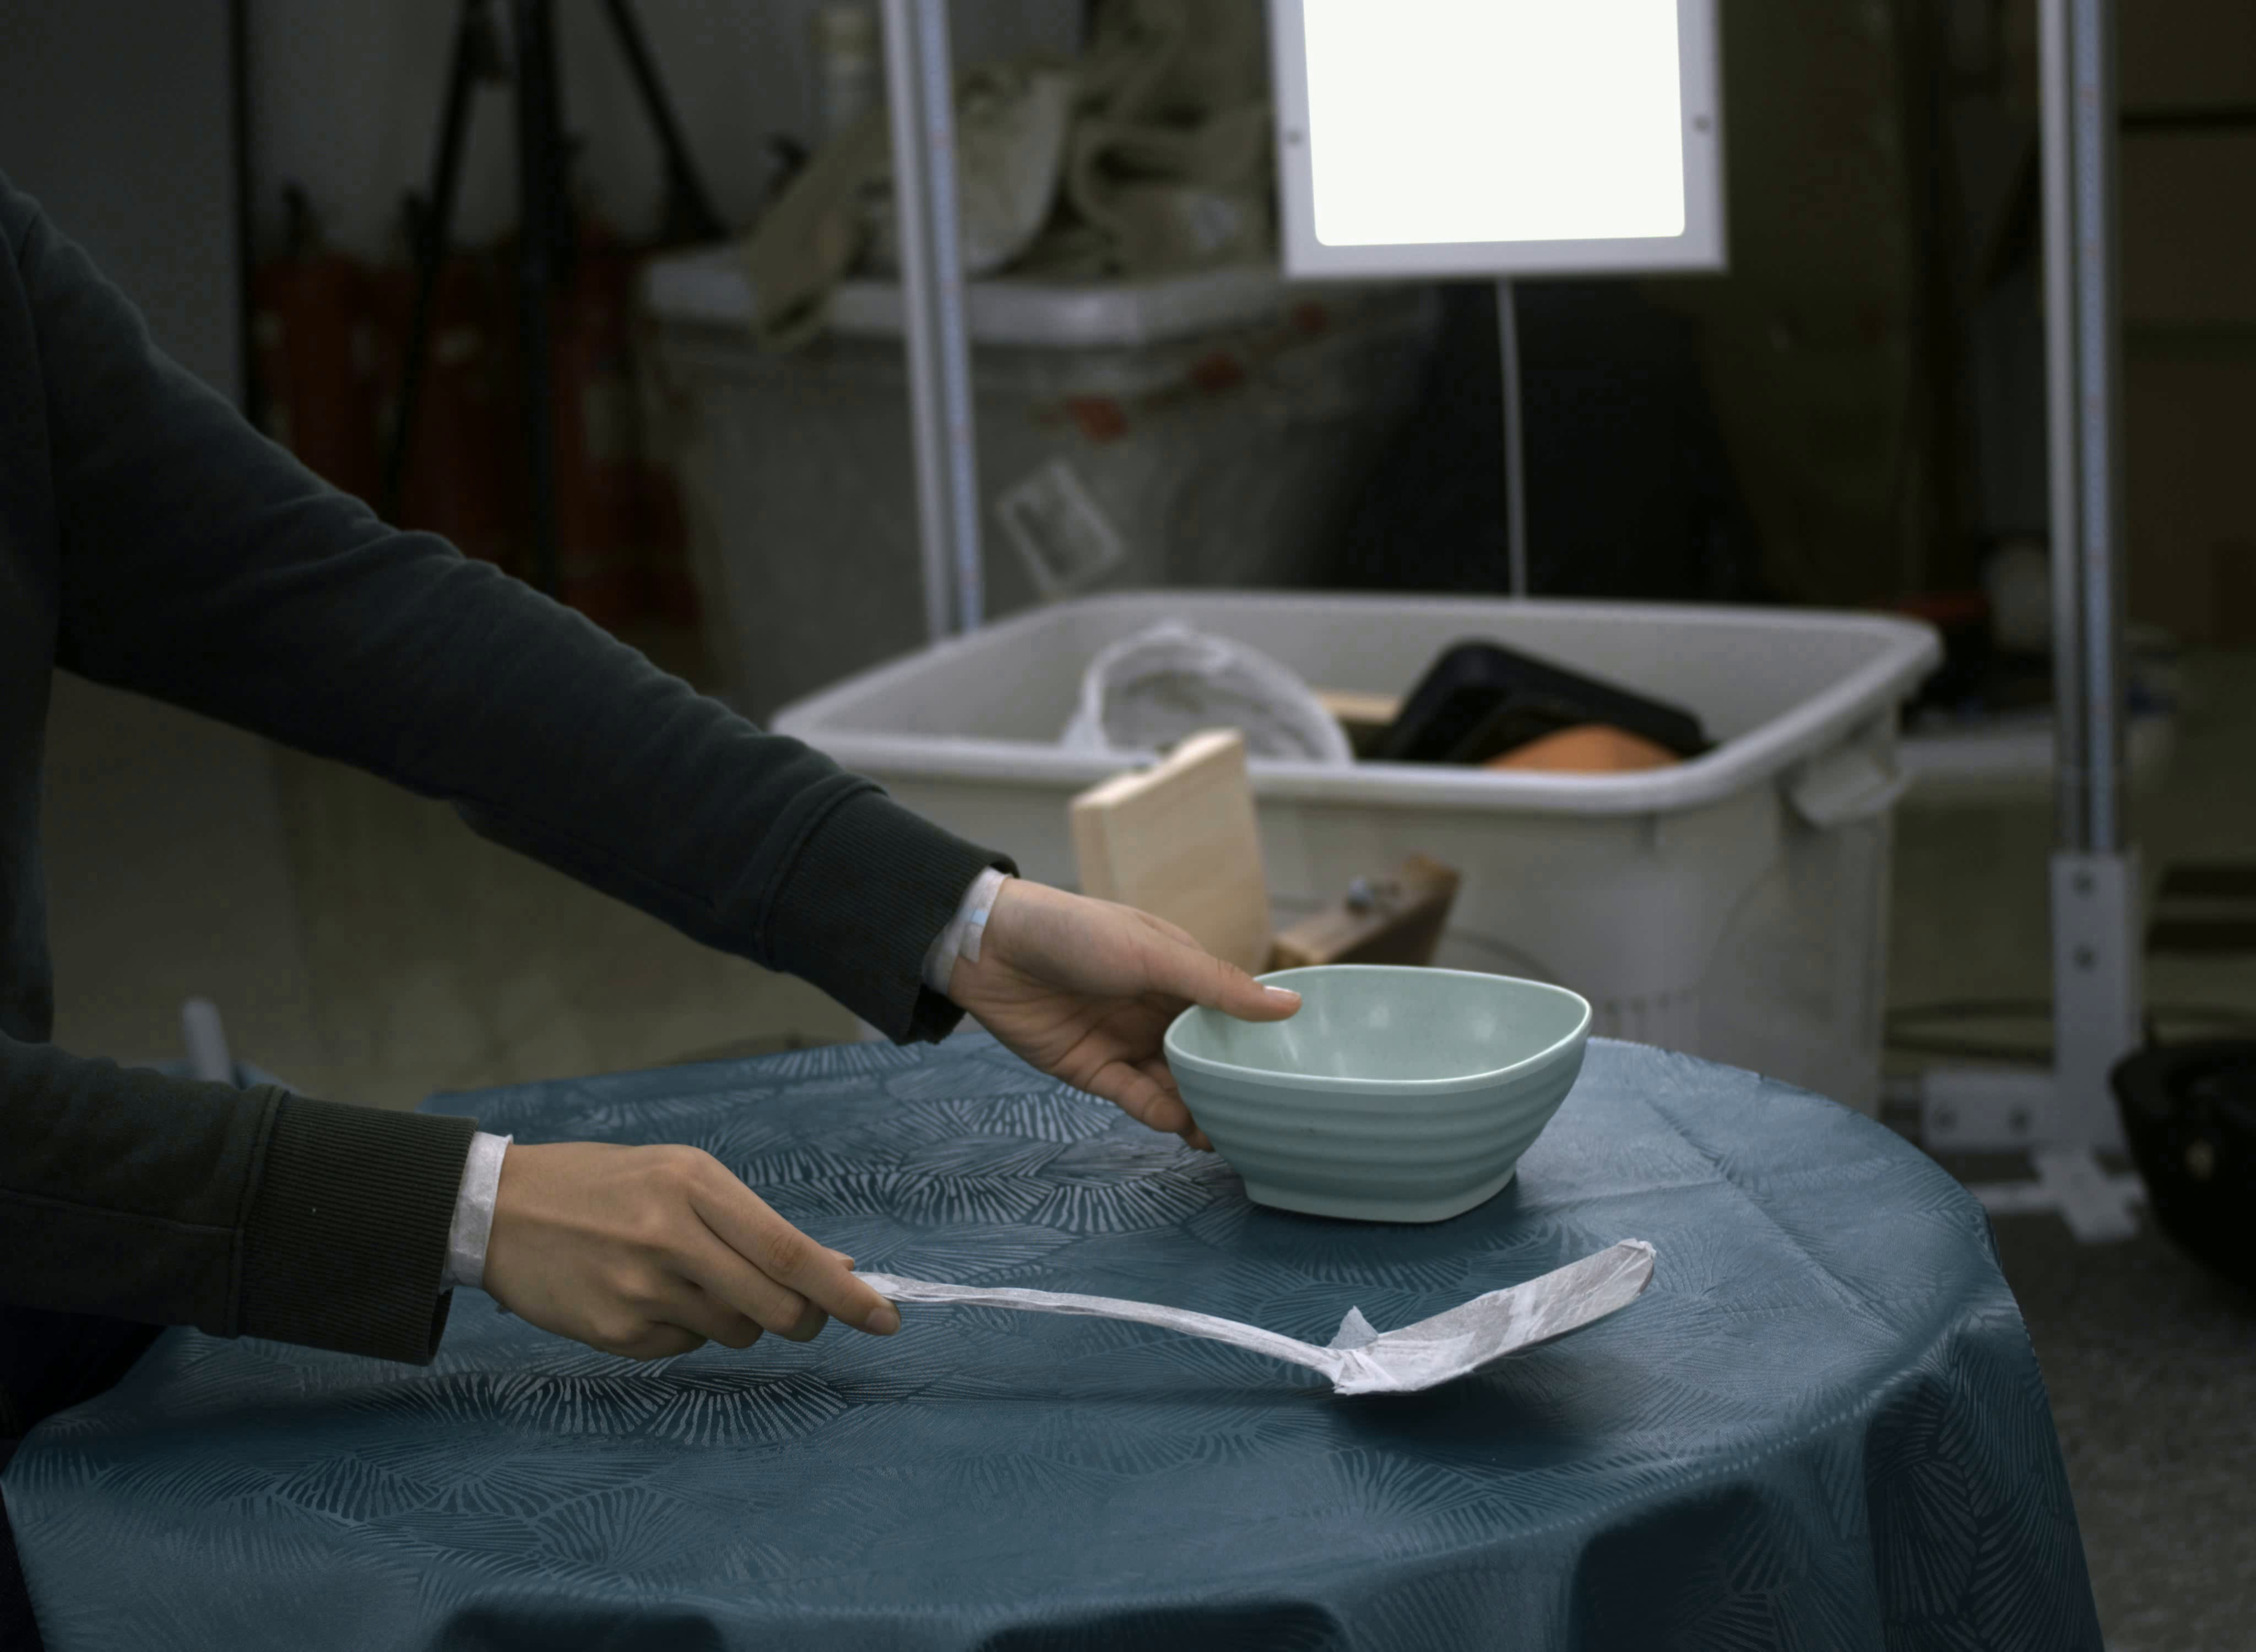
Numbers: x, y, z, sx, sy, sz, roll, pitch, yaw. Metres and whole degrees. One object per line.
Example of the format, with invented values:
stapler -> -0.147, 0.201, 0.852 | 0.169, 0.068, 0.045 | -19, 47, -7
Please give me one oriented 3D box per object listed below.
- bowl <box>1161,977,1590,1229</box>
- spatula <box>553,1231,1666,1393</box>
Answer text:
bowl -> 0.085, 0.096, 1.869 | 0.151, 0.059, 0.151 | -2, 12, -1
spatula -> -0.015, 0.143, 1.706 | 0.369, 0.045, 0.097 | 4, 15, 19
